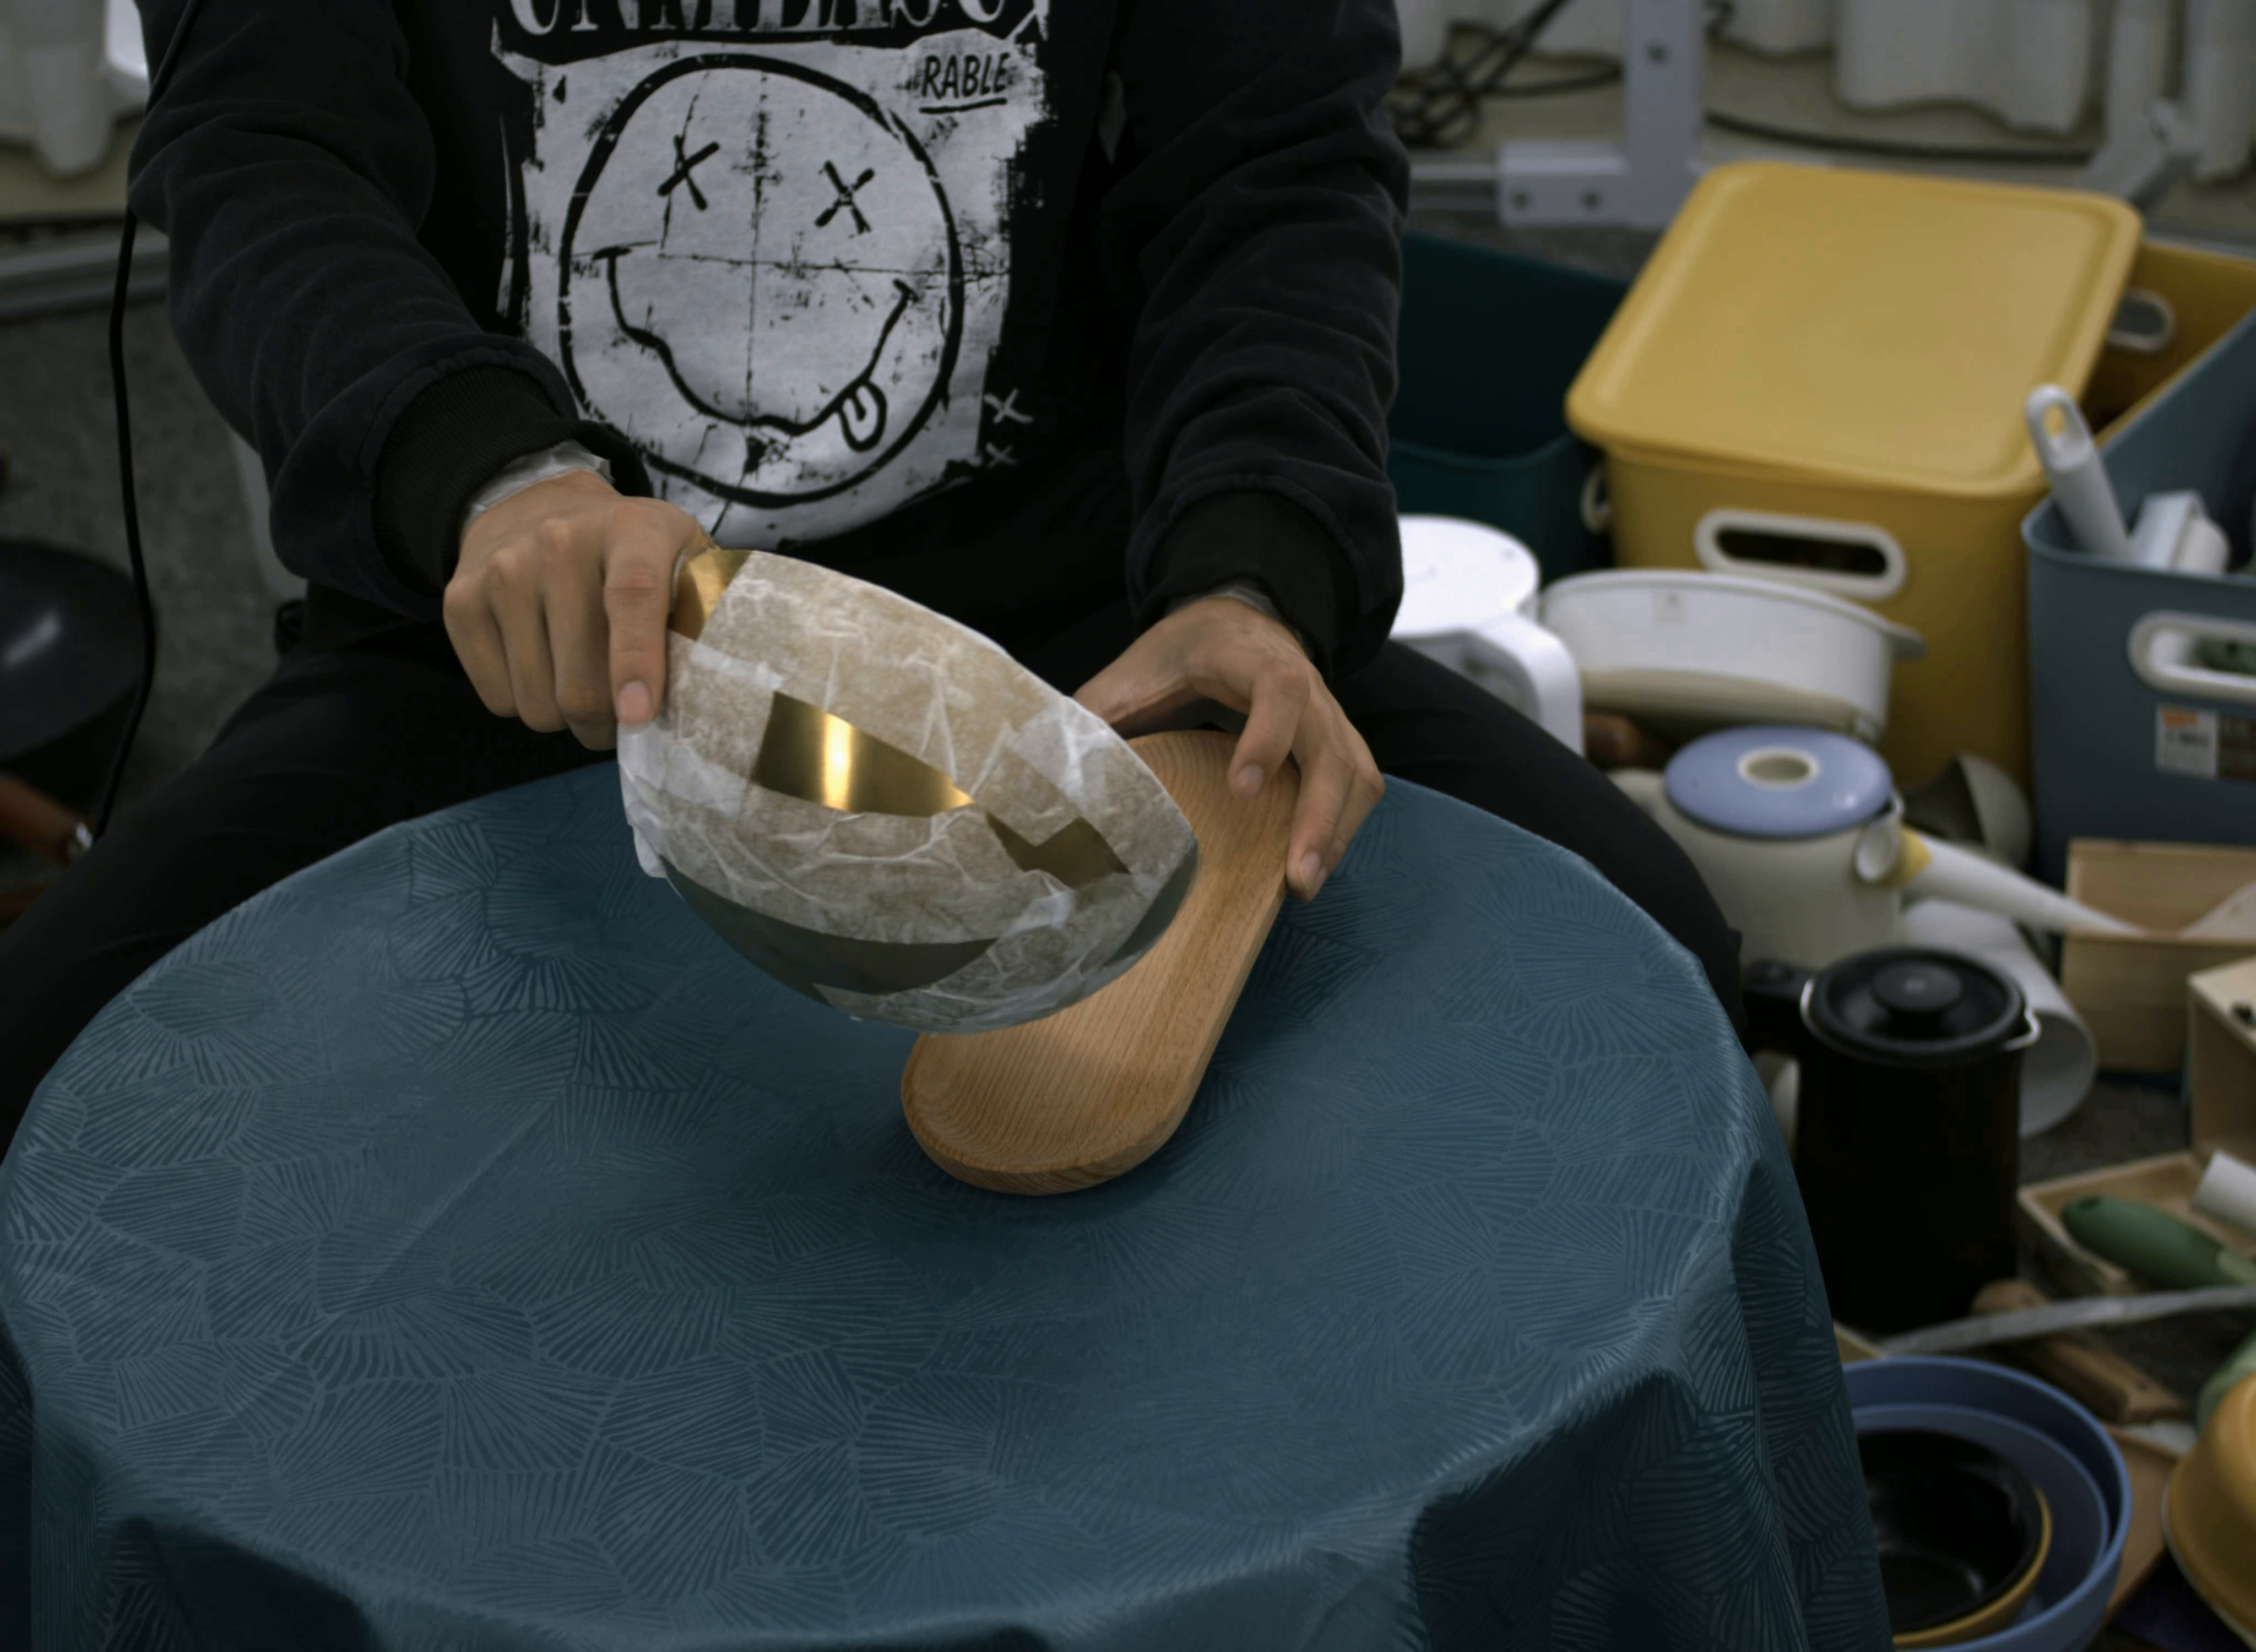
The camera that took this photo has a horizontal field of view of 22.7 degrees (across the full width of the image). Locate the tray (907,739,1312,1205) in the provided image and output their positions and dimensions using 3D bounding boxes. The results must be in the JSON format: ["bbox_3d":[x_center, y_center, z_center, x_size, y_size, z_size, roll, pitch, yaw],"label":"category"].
[{"bbox_3d":[-0.004,0.048,1.936,0.101,0.020,0.236,4,42,19],"label":"tray"}]

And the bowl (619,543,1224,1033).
[{"bbox_3d":[-0.083,0.006,1.805,0.214,0.212,0.096,16,68,33],"label":"bowl"}]
